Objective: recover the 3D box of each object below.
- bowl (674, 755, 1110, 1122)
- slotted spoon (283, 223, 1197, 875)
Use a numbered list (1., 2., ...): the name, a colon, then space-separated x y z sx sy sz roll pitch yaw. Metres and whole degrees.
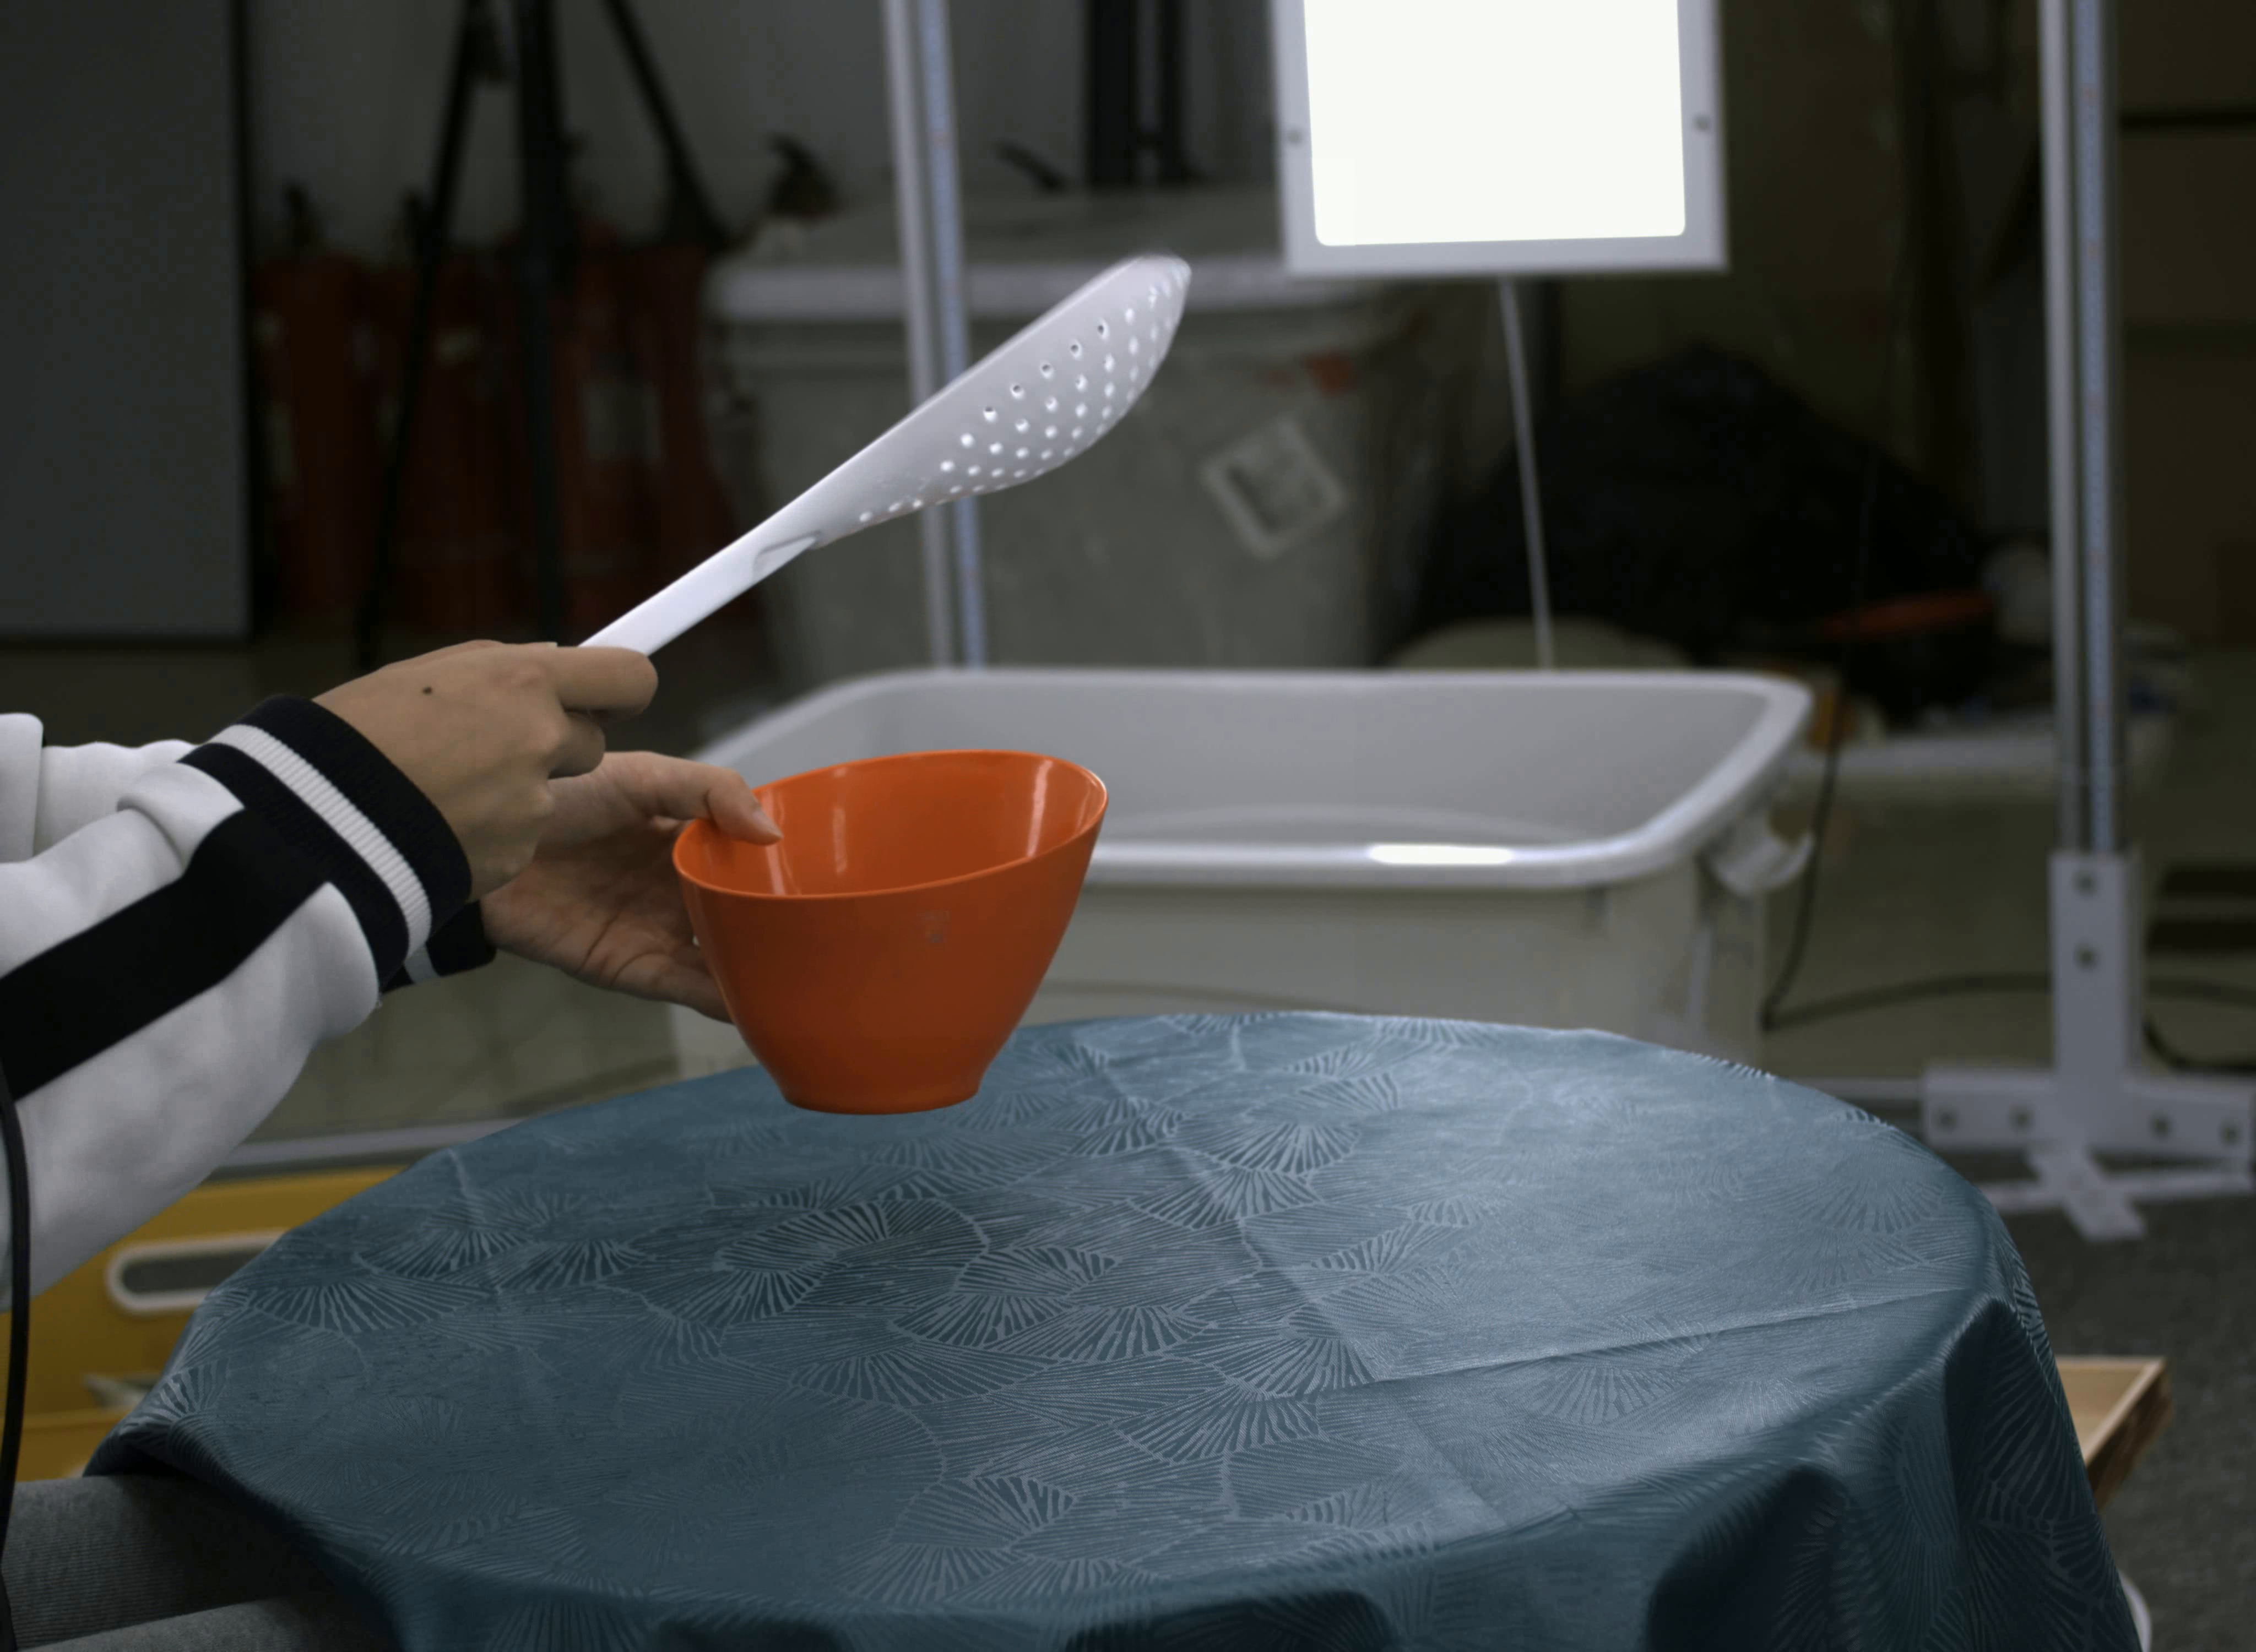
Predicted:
1. bowl: -0.079 0.040 1.861 0.147 0.105 0.148 -2 12 -1
2. slotted spoon: -0.111 -0.085 1.669 0.344 0.046 0.138 -31 3 -22
